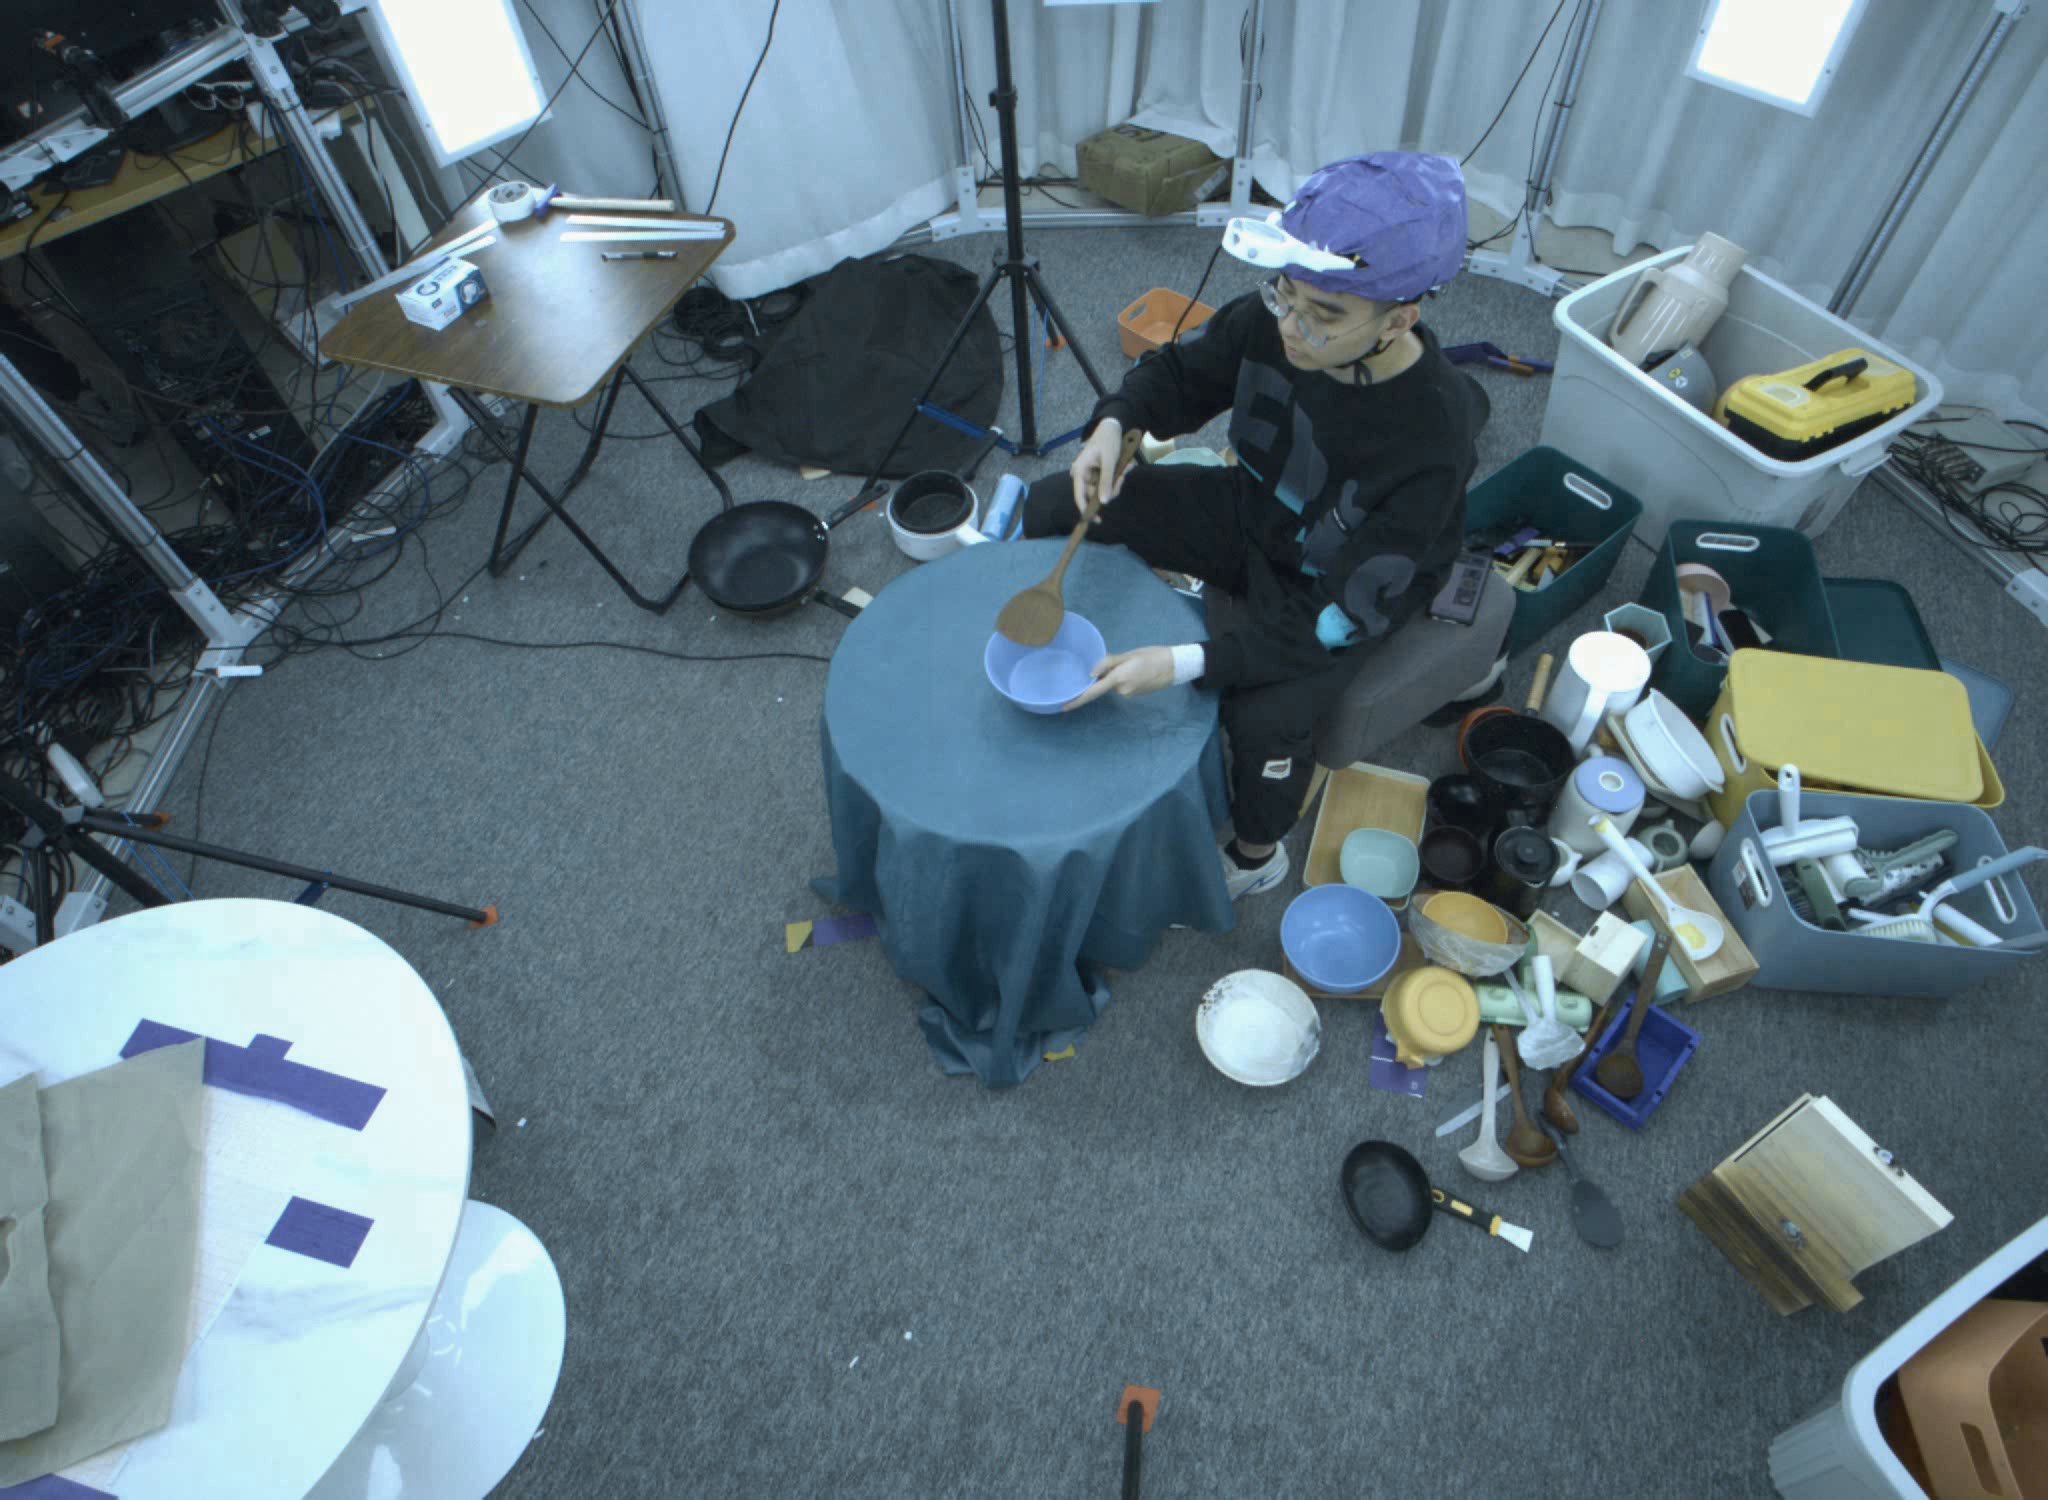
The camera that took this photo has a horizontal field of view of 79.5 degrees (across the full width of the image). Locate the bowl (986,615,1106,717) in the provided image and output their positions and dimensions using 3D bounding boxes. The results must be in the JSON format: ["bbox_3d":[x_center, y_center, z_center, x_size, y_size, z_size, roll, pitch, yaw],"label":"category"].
[{"bbox_3d":[0.034,-0.115,1.813,0.176,0.071,0.174,-1,57,3],"label":"bowl"}]

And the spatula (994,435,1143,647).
[{"bbox_3d":[0.079,-0.317,1.801,0.094,0.016,0.386,24,77,21],"label":"spatula"}]
